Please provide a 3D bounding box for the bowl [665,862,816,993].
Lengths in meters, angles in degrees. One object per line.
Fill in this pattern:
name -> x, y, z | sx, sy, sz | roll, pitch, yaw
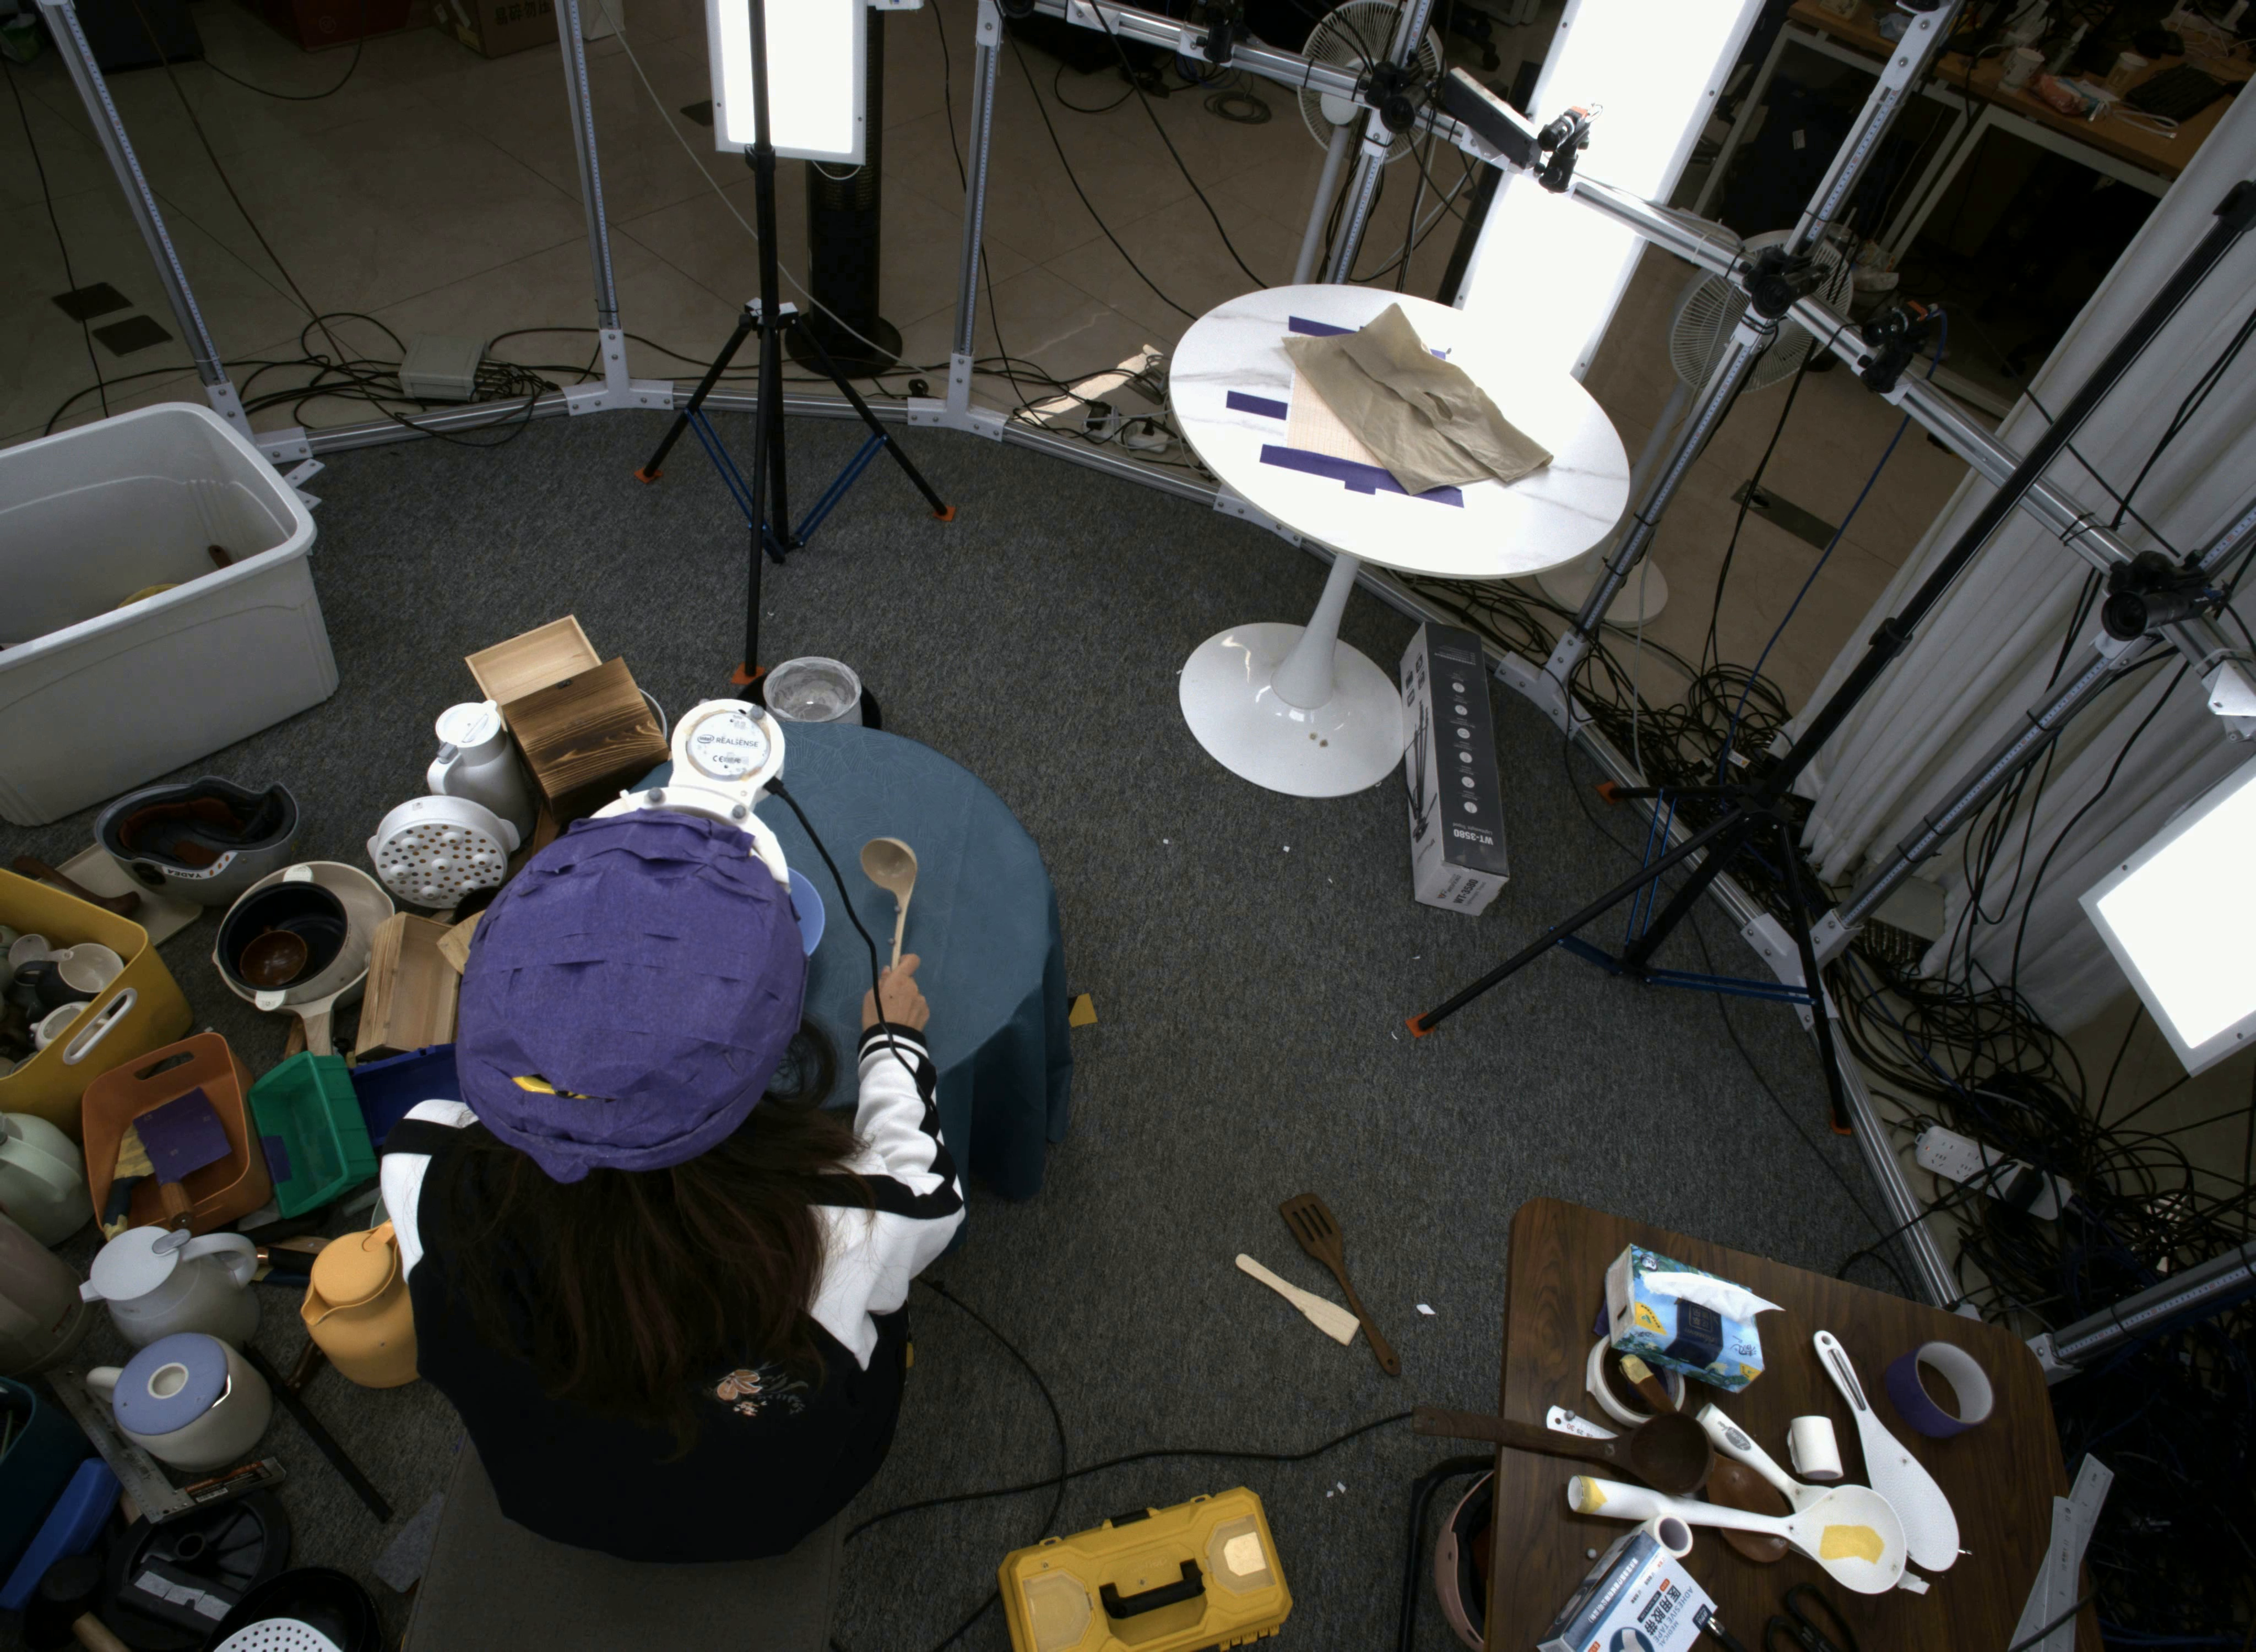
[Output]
bowl -> -0.465, 0.132, 1.564 | 0.175, 0.072, 0.173 | 7, 52, -8

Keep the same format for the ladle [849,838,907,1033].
ladle -> -0.304, 0.124, 1.568 | 0.075, 0.071, 0.249 | 39, 33, -42
